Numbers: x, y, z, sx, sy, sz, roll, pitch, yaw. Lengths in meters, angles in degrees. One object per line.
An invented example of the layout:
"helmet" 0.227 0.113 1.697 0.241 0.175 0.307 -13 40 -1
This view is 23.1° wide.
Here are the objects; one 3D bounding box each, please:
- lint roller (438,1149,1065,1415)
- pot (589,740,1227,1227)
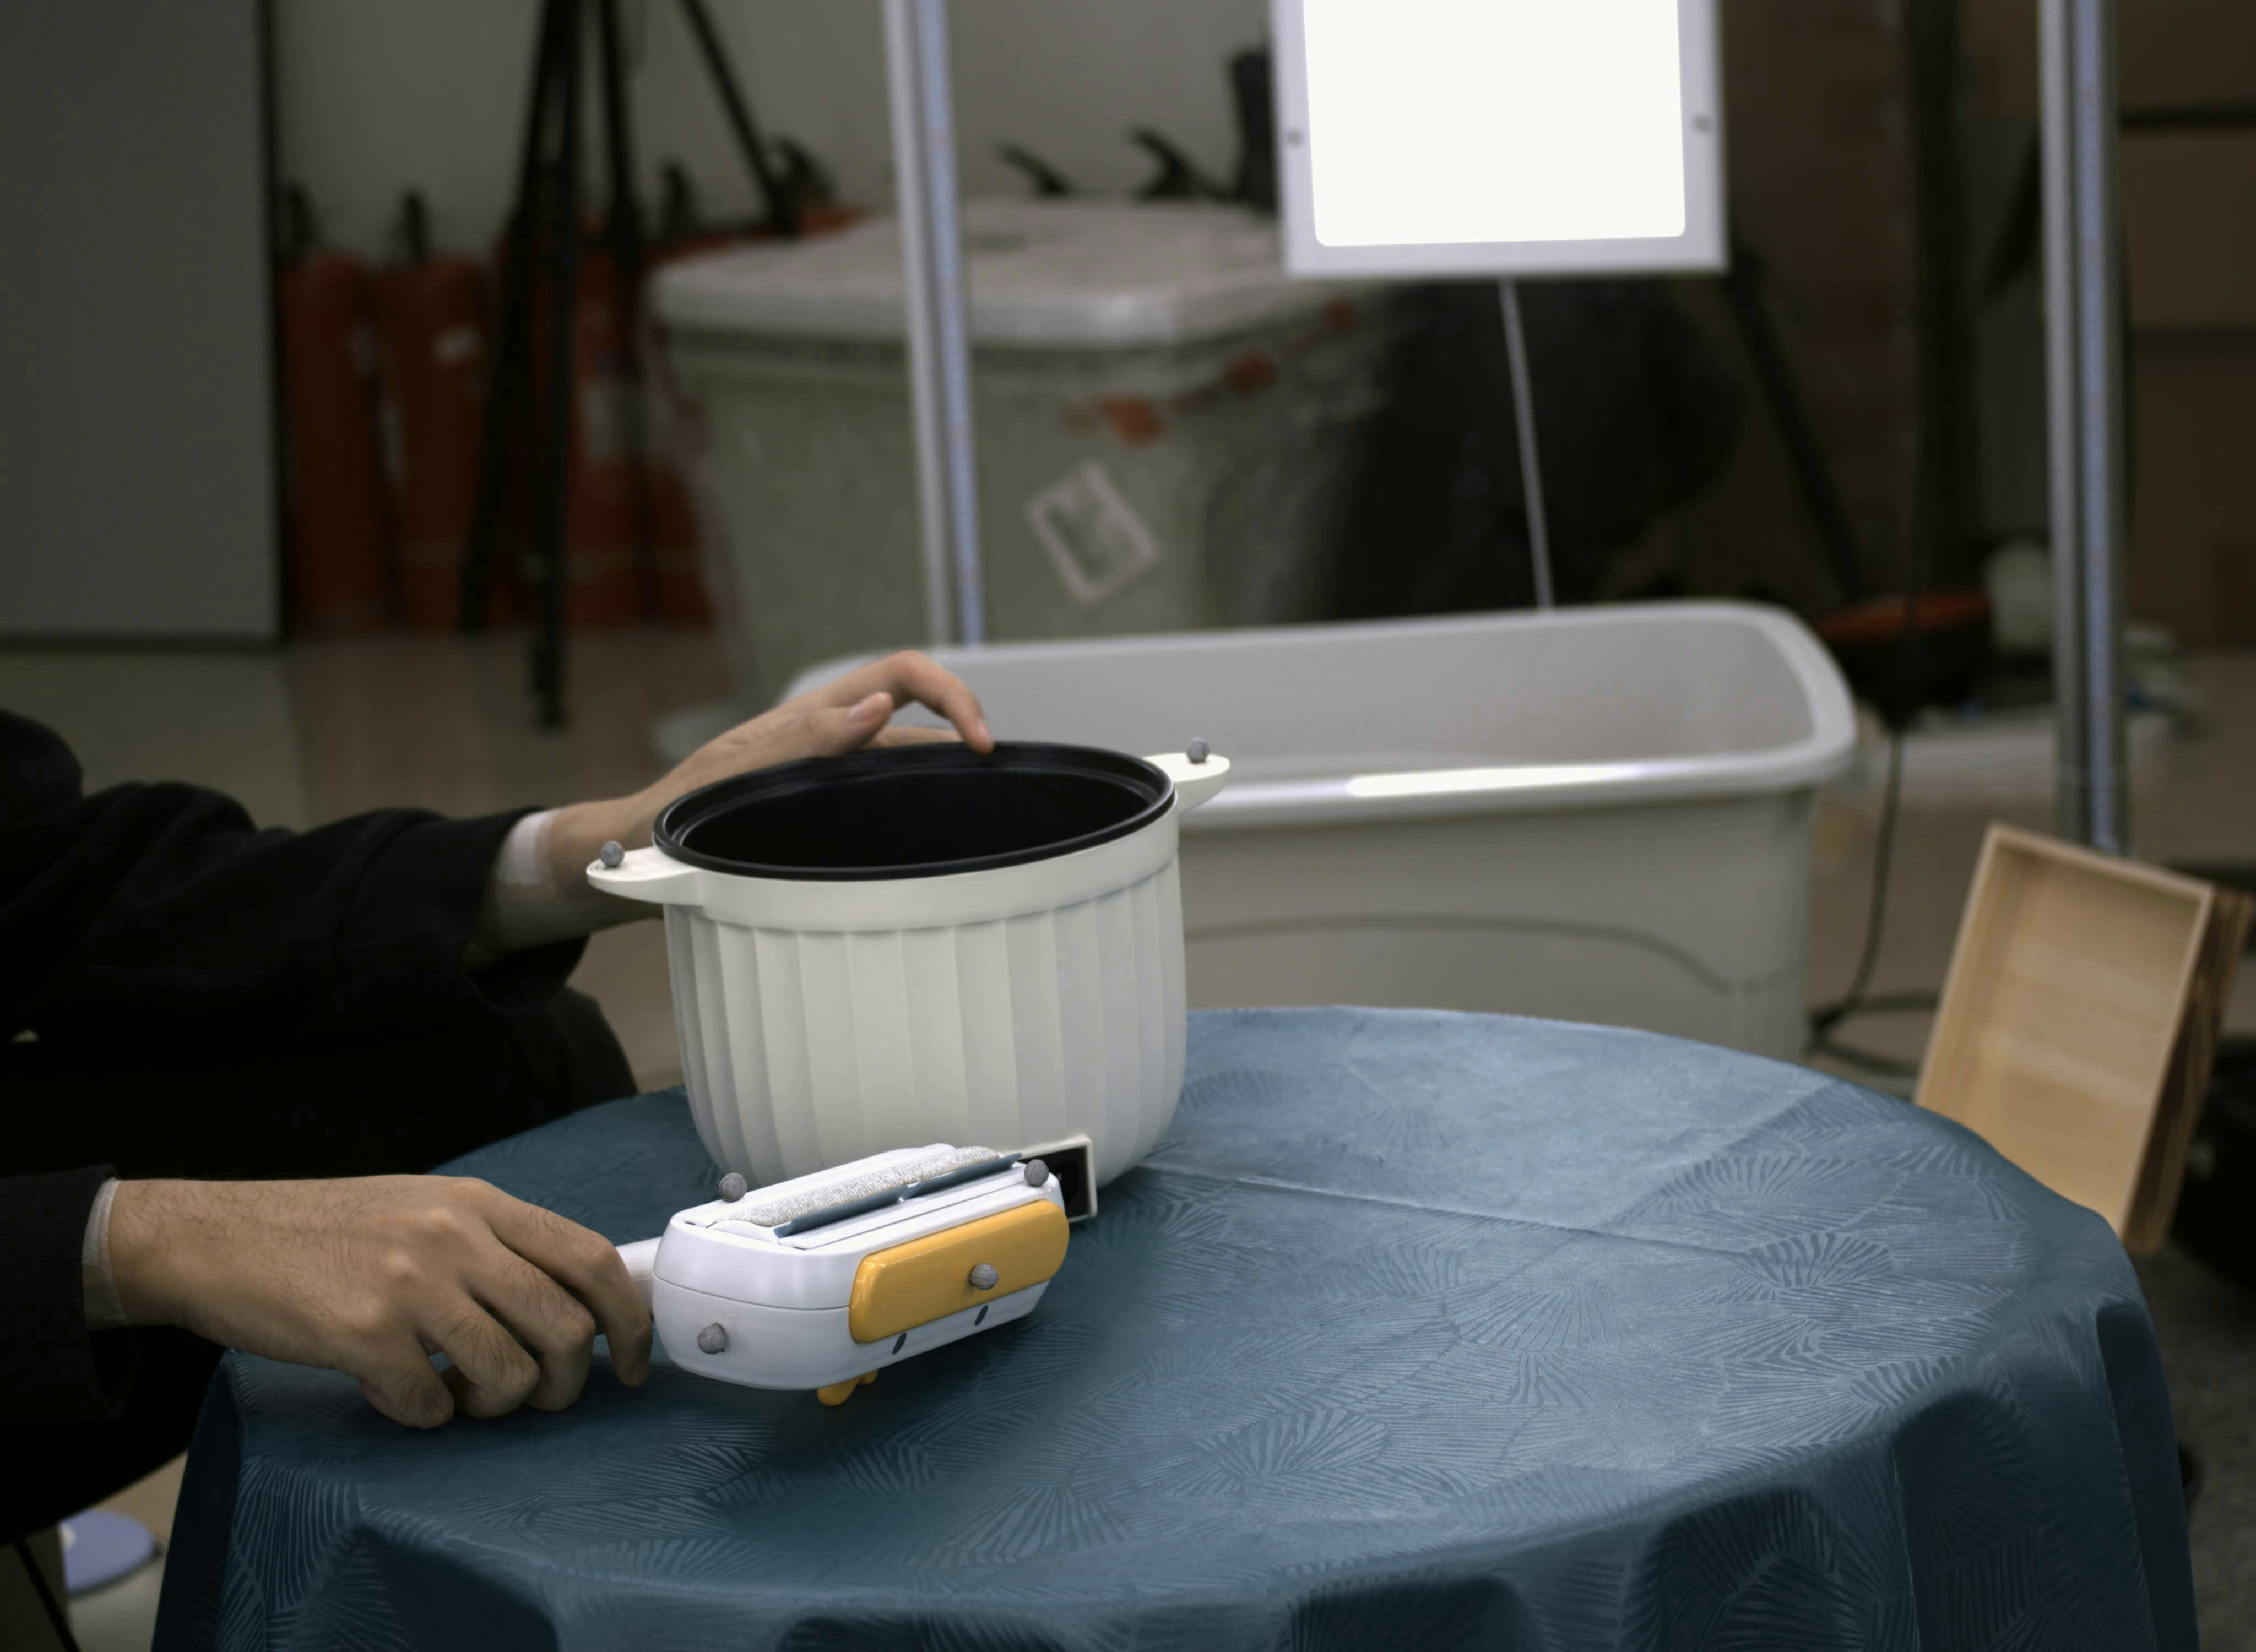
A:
"lint roller" -0.136 0.142 1.738 0.196 0.074 0.188 1 10 30
"pot" -0.072 0.056 1.917 0.235 0.143 0.193 -10 17 -24
